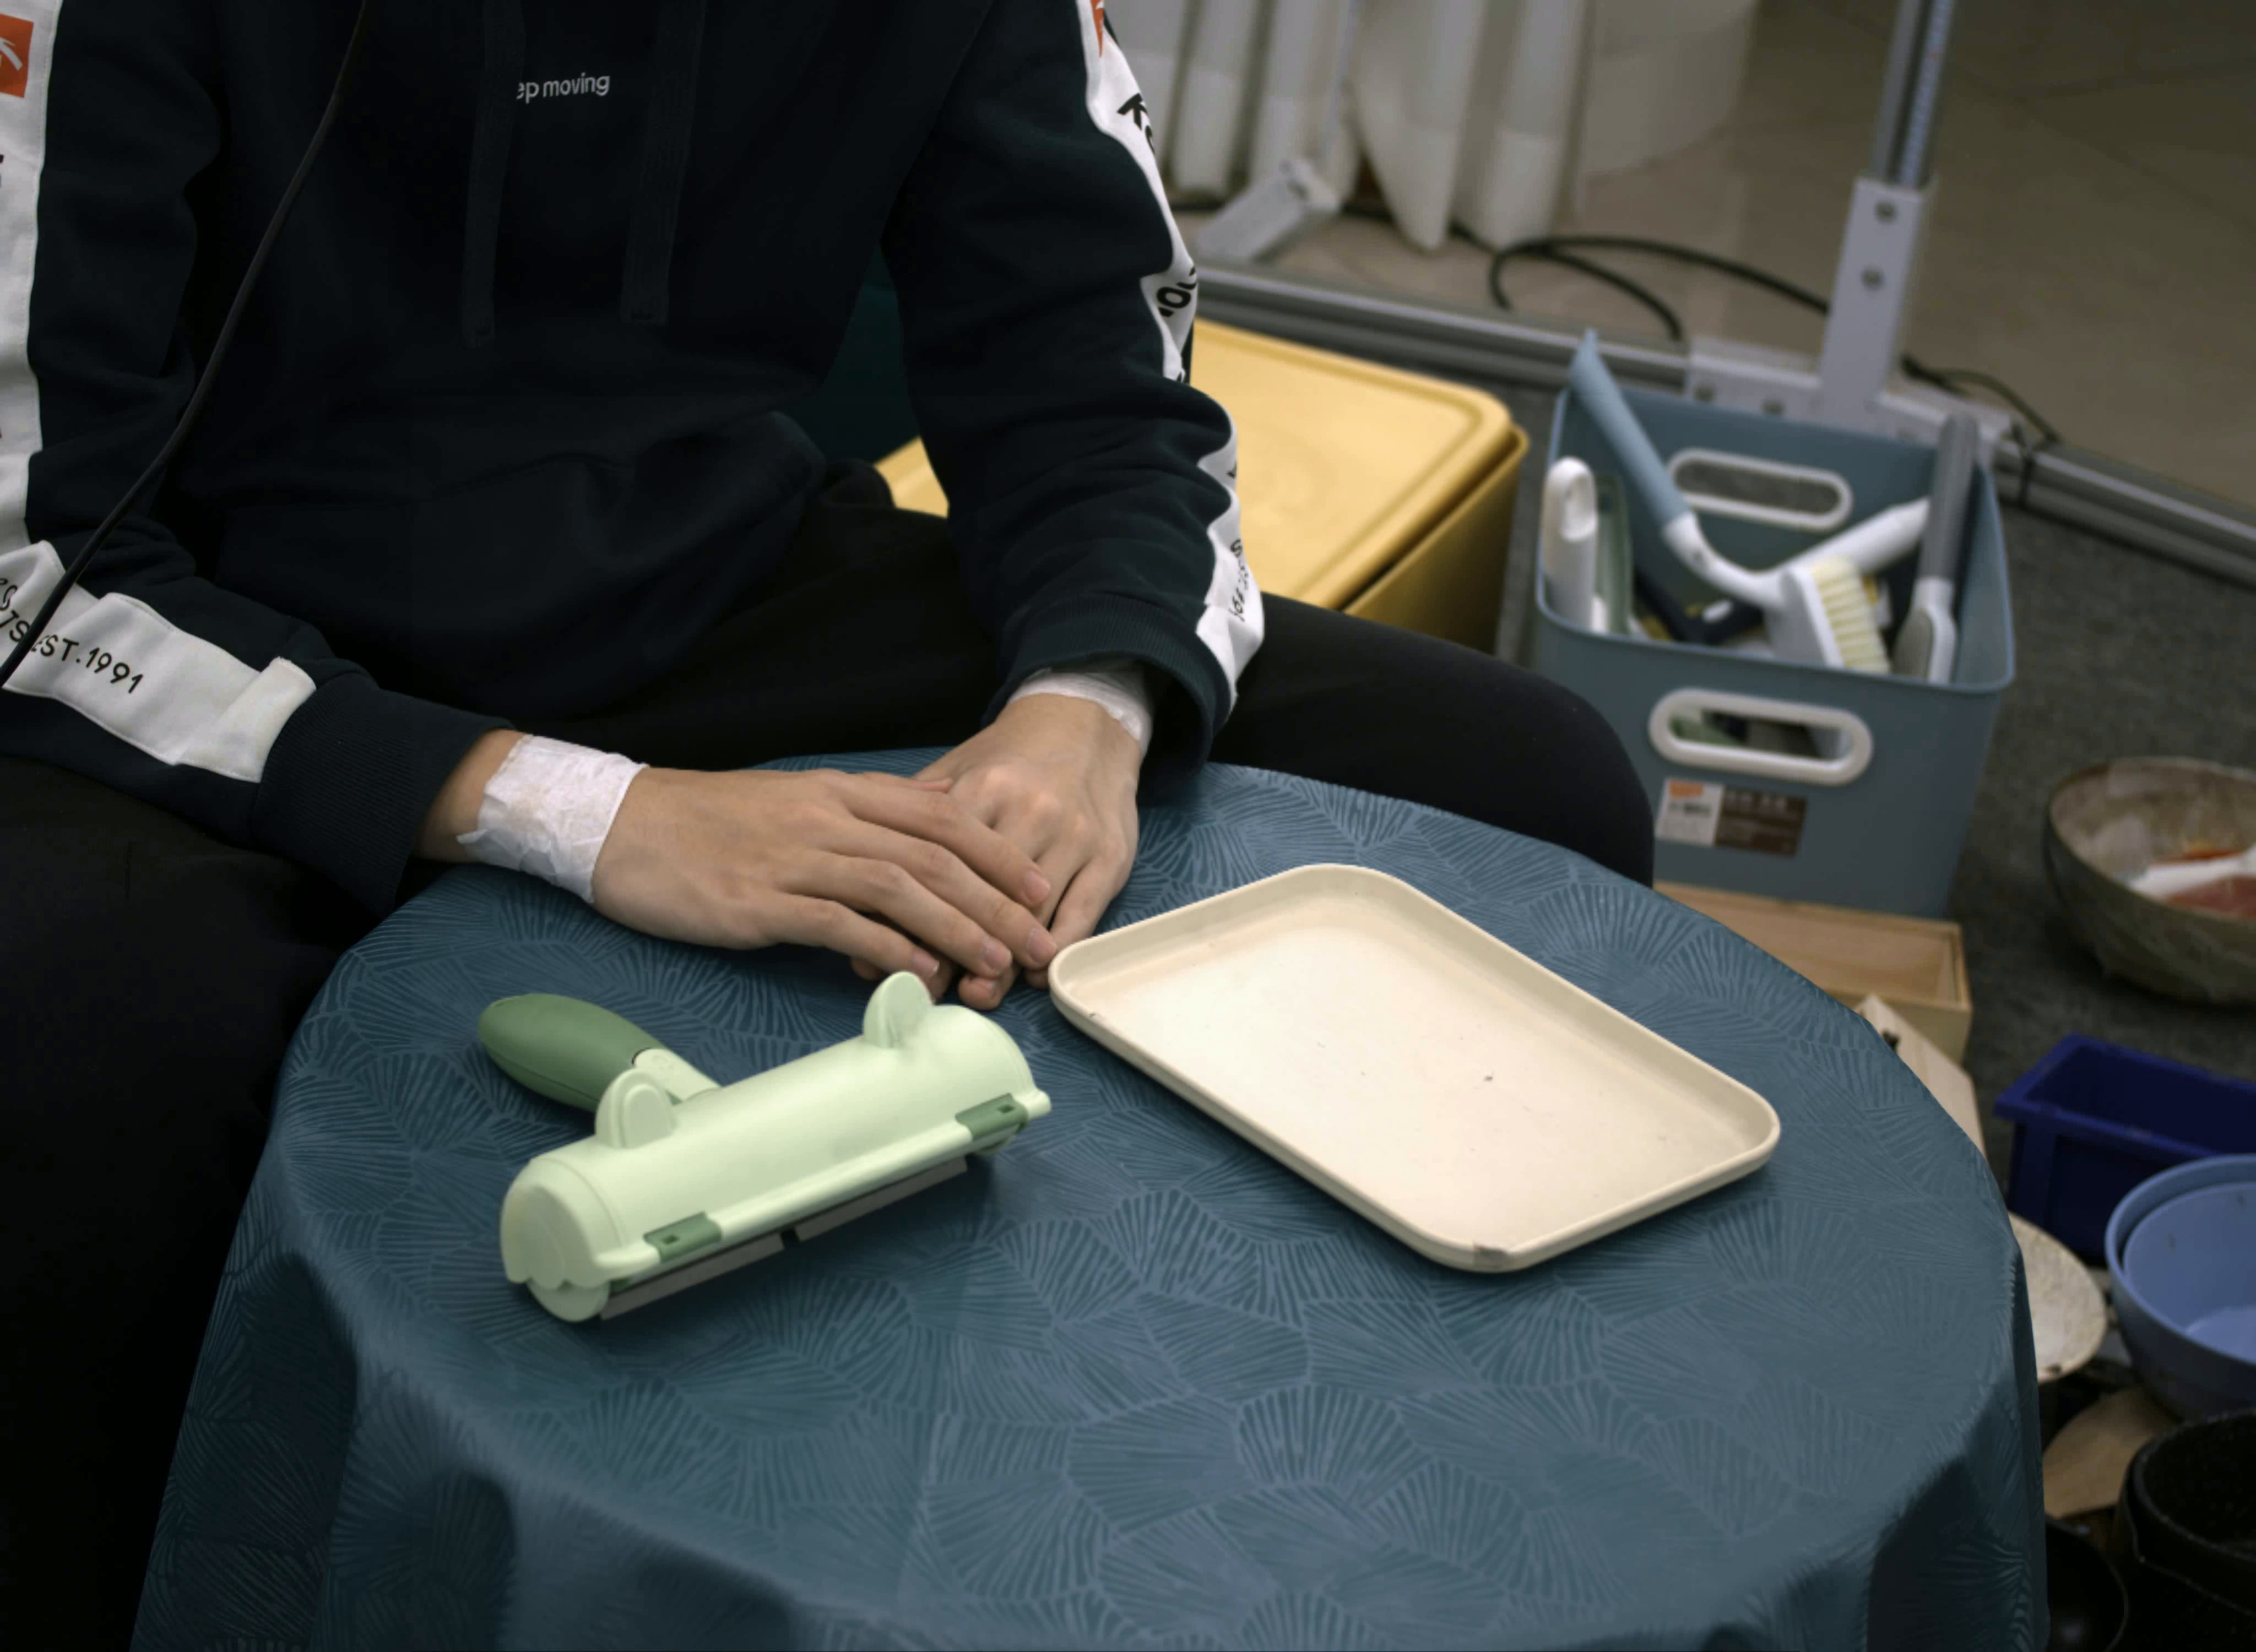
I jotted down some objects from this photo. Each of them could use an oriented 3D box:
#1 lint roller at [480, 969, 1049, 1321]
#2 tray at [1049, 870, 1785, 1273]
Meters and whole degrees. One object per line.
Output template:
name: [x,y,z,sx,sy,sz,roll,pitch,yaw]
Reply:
lint roller: [-0.153,0.078,1.770,0.197,0.082,0.185,-19,40,-40]
tray: [0.100,0.085,1.878,0.170,0.017,0.241,-17,35,-39]
